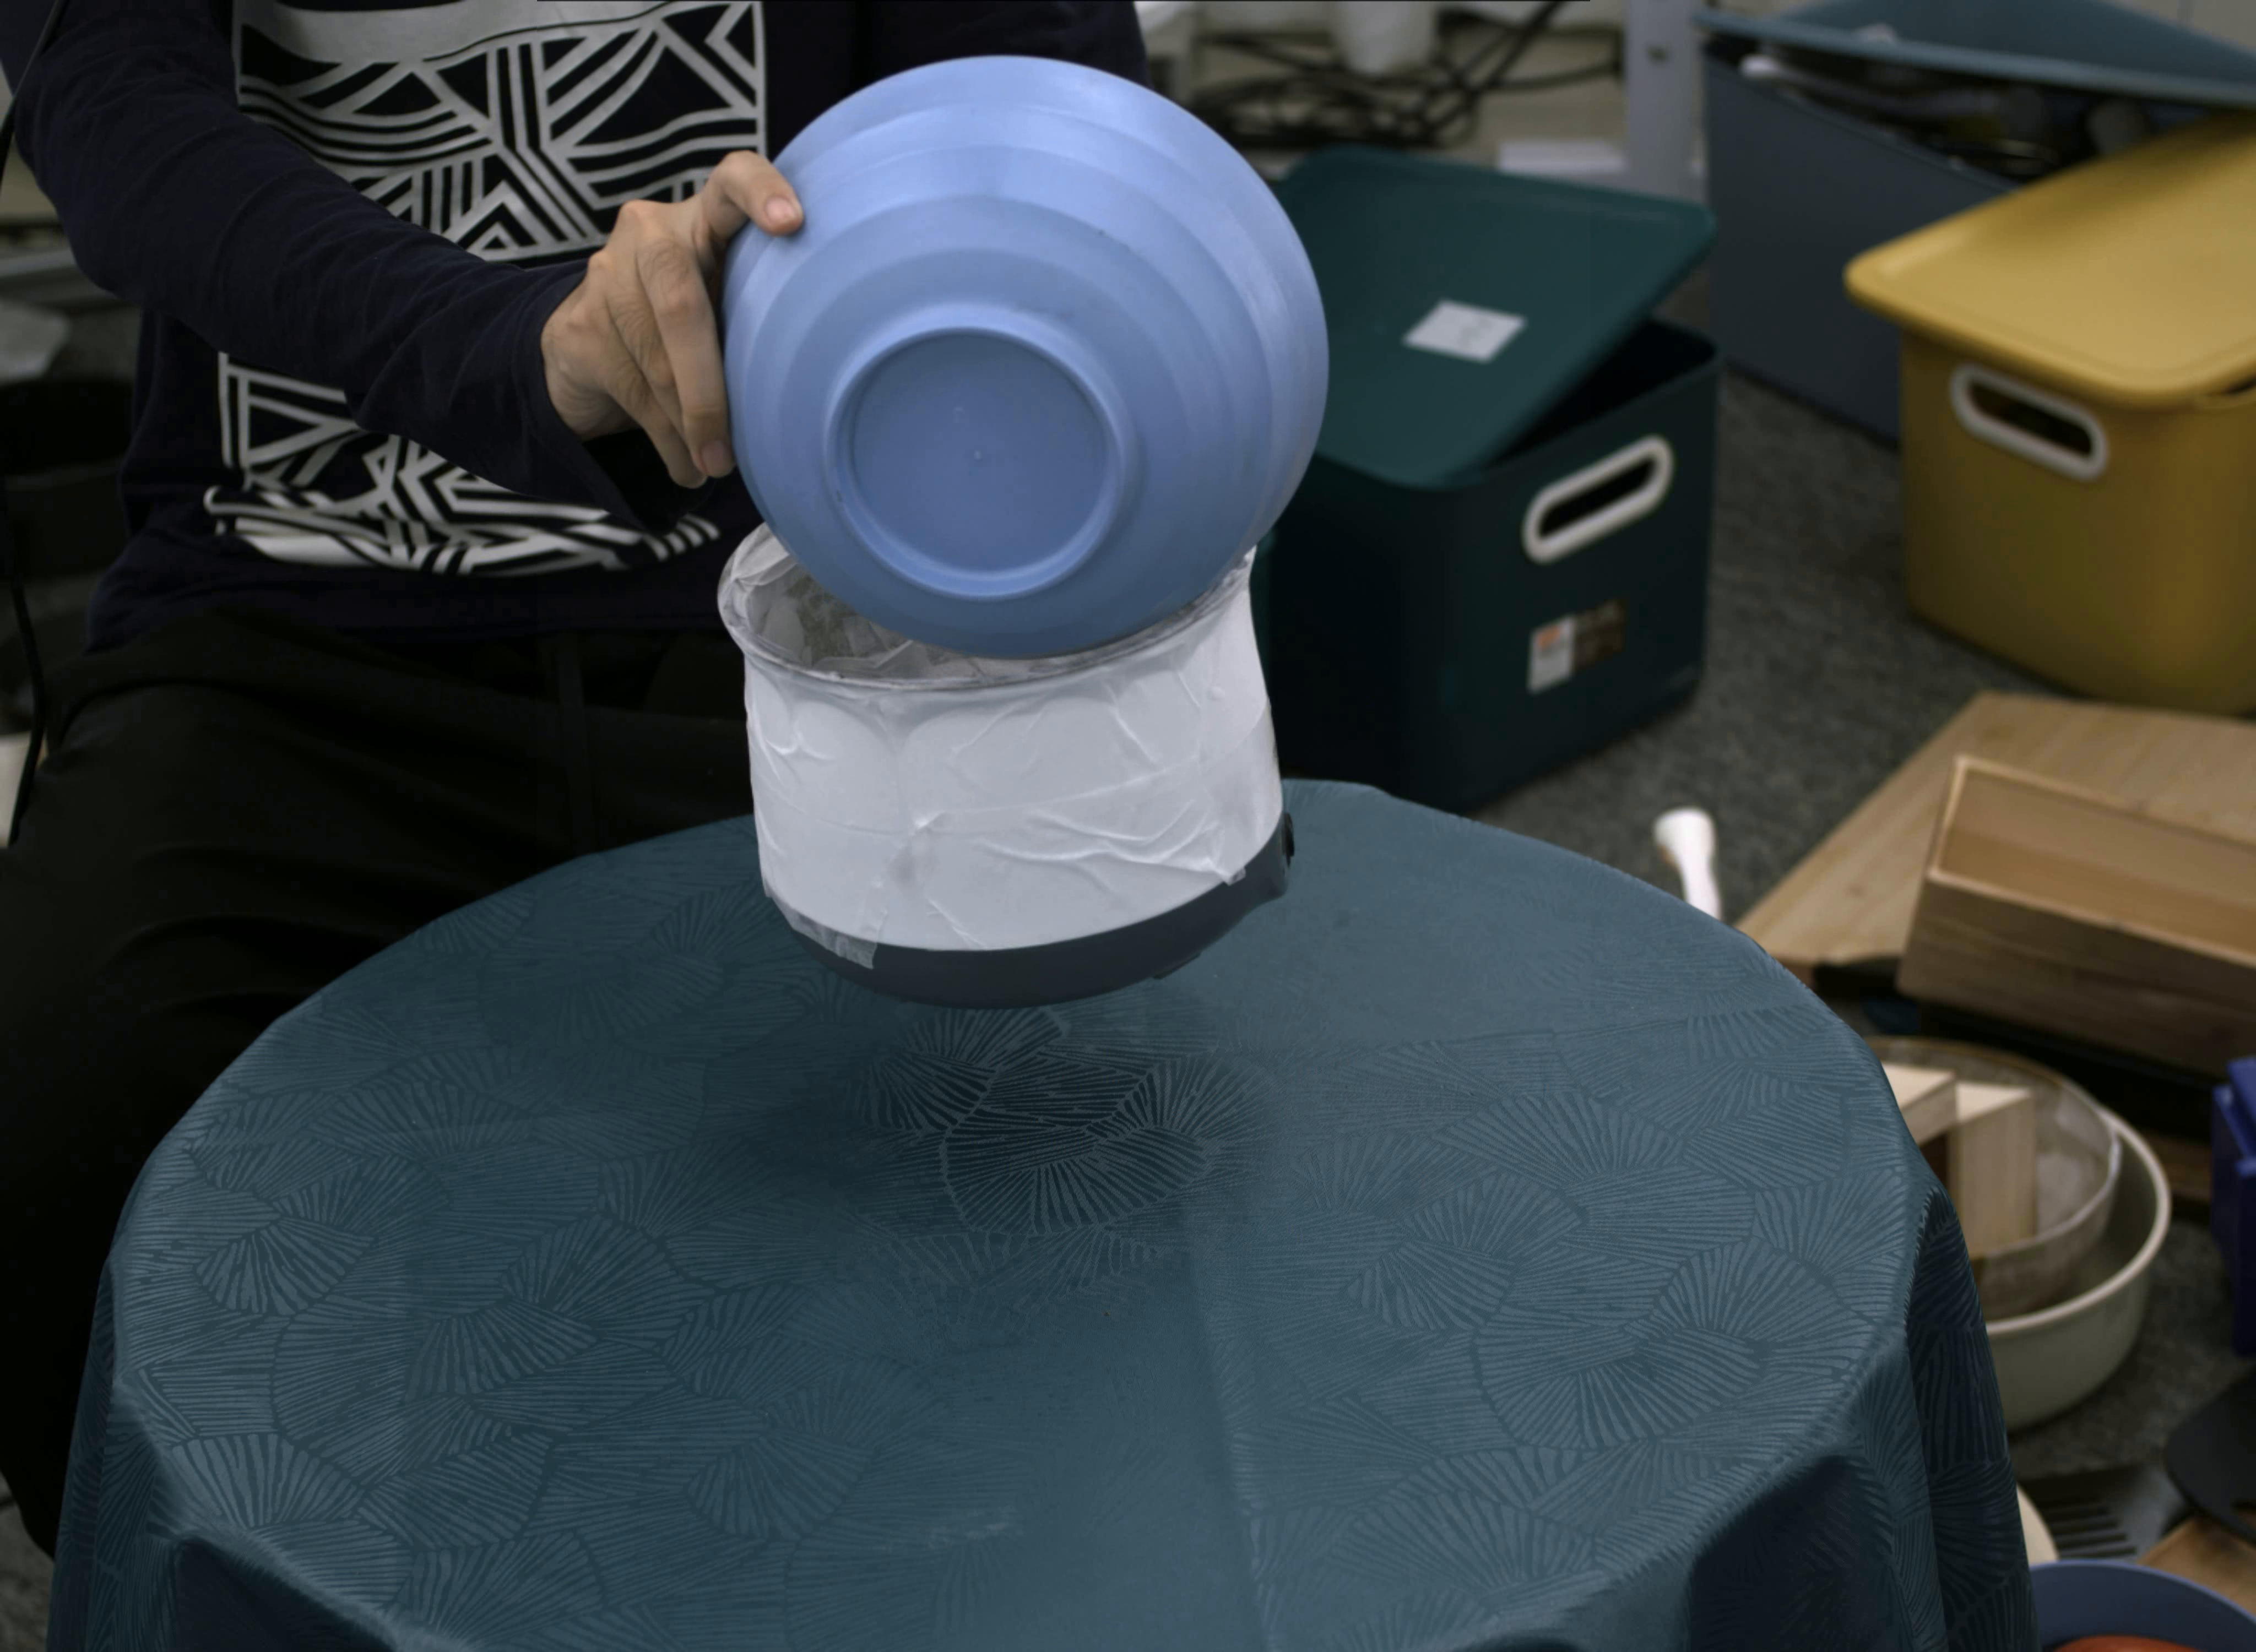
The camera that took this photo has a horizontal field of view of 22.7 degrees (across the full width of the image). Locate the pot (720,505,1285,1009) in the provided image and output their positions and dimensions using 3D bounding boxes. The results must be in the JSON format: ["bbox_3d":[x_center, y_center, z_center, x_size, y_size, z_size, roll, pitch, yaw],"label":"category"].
[{"bbox_3d":[-0.041,-0.046,1.877,0.178,0.135,0.237,-4,28,0],"label":"pot"}]

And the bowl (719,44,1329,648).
[{"bbox_3d":[-0.040,-0.133,1.746,0.195,0.194,0.097,2,28,9],"label":"bowl"}]
